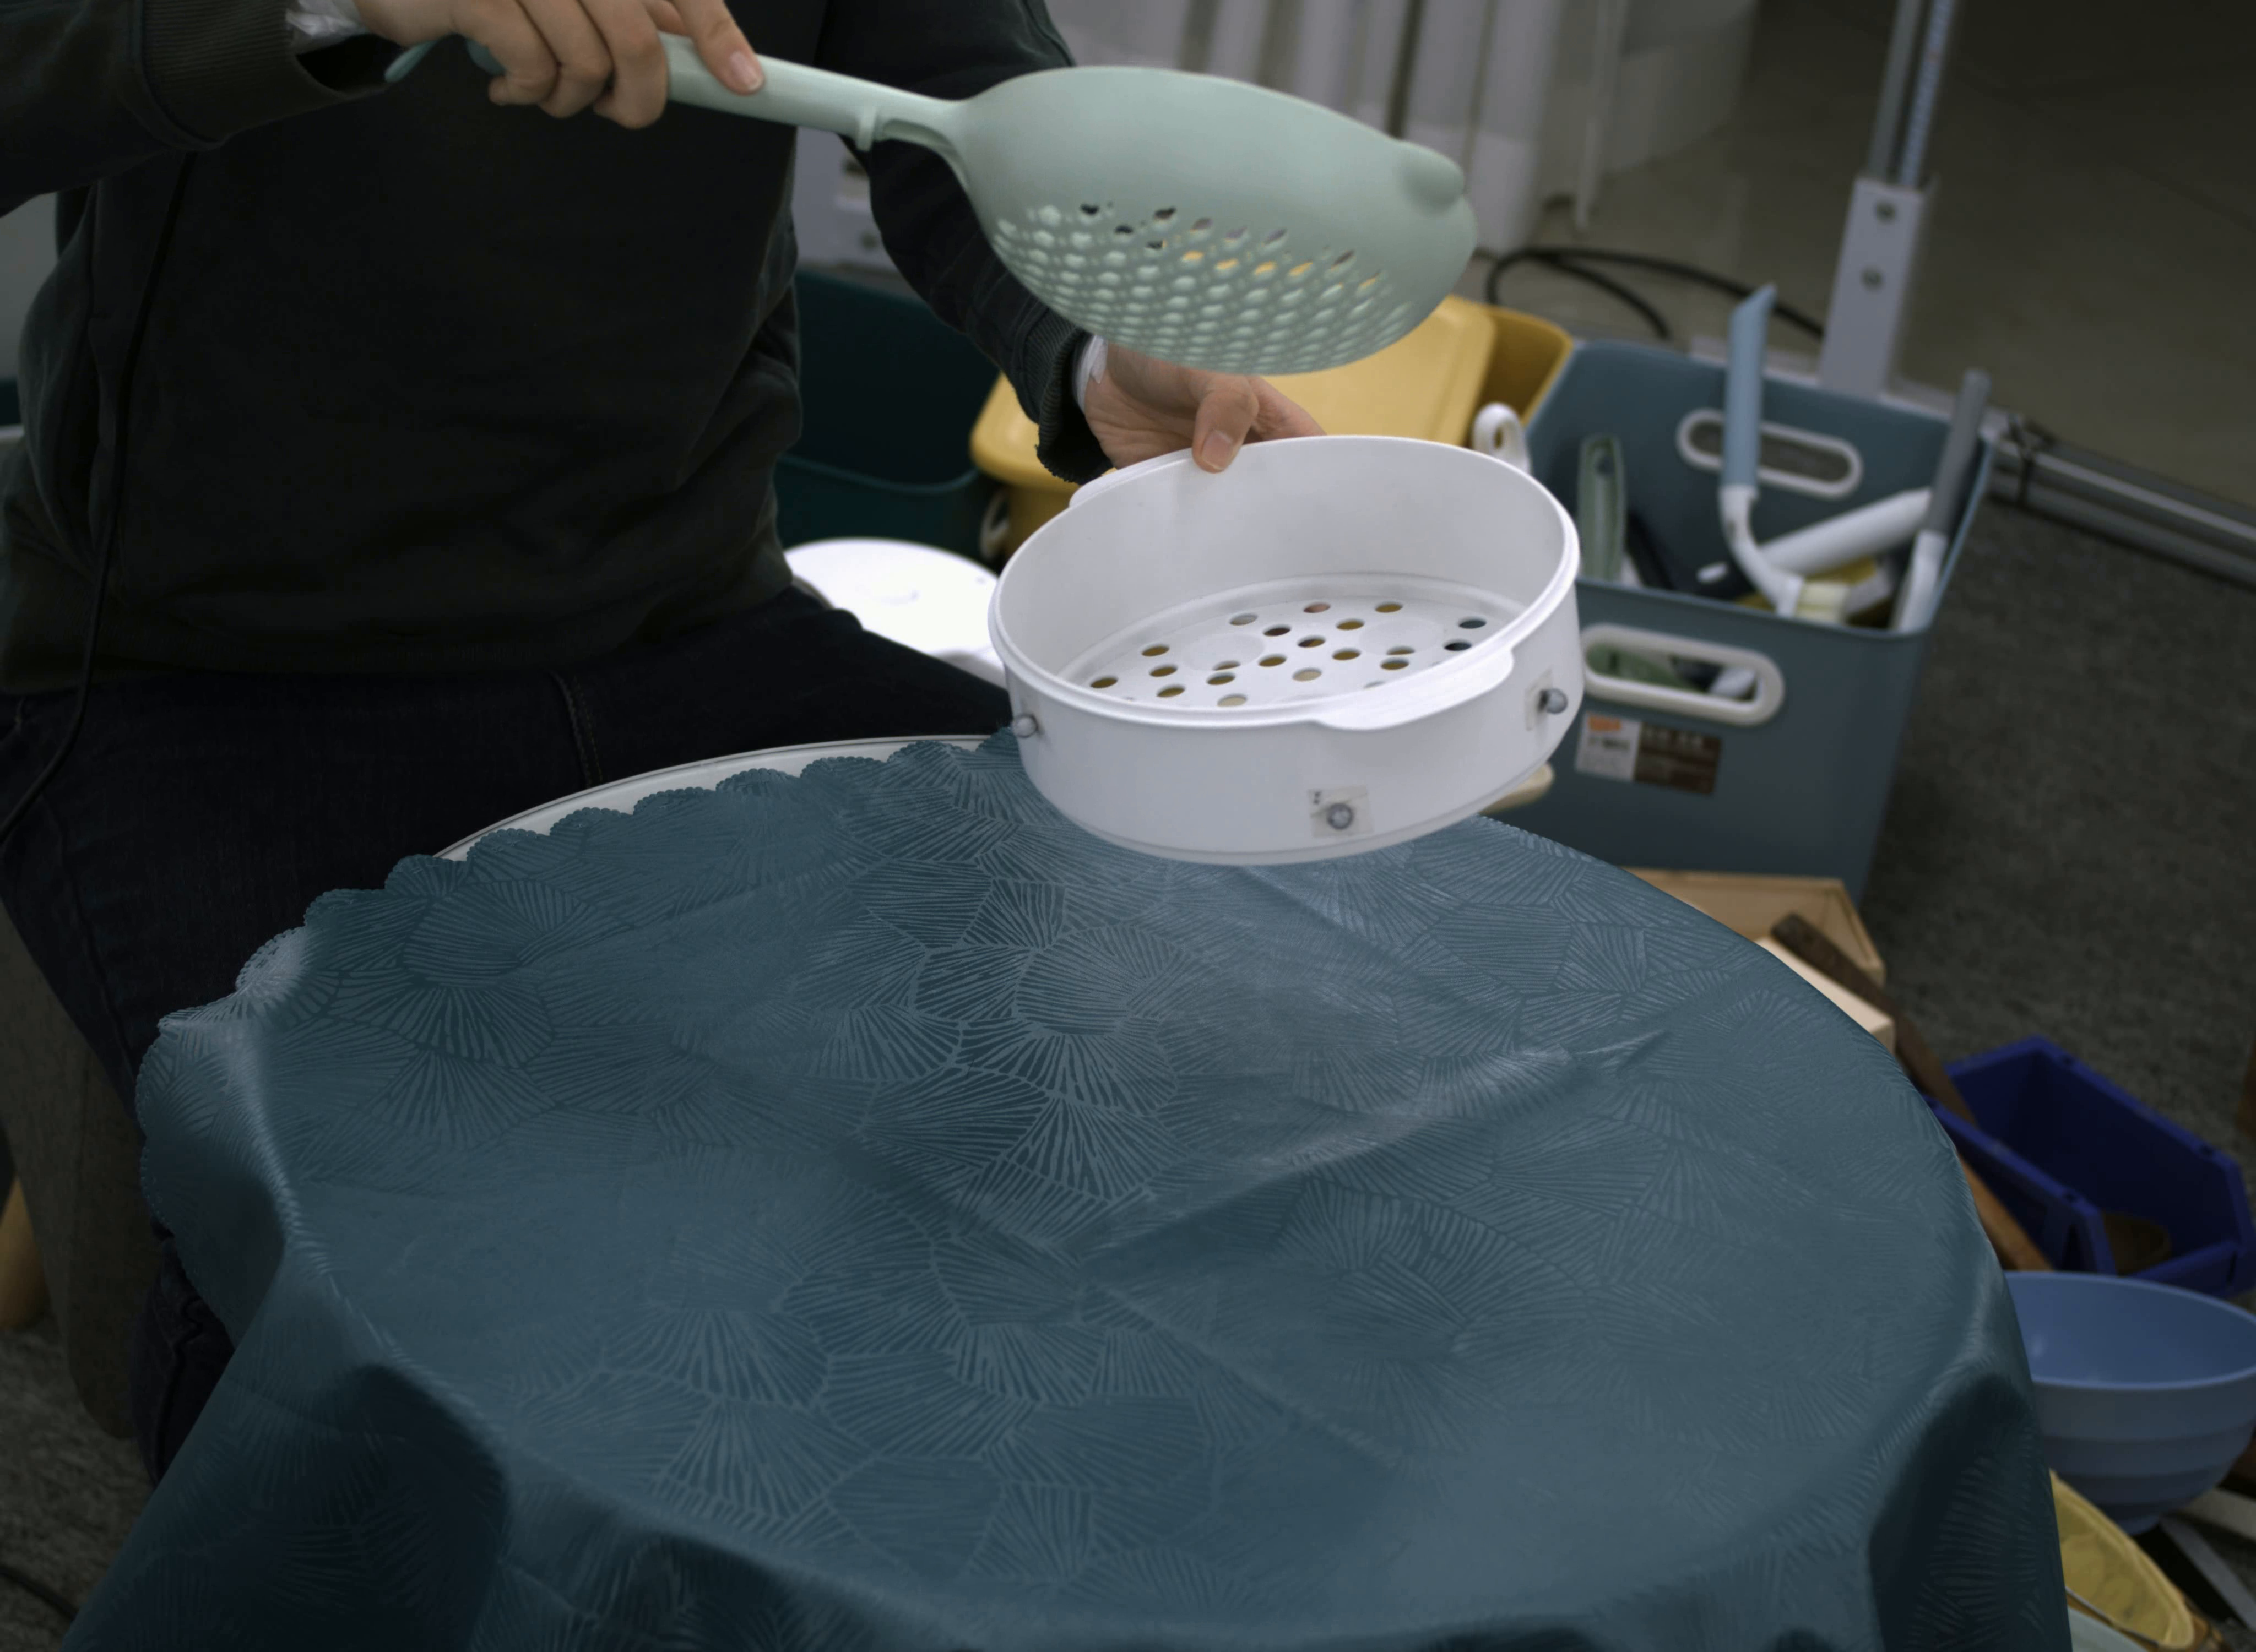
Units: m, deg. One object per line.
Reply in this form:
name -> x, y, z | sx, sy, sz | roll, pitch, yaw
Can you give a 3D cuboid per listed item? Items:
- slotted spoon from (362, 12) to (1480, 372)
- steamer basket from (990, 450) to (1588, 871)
slotted spoon -> -0.067, -0.219, 1.724 | 0.358, 0.075, 0.169 | 19, -16, 1
steamer basket -> 0.057, -0.055, 1.793 | 0.201, 0.069, 0.232 | -19, 30, -19
